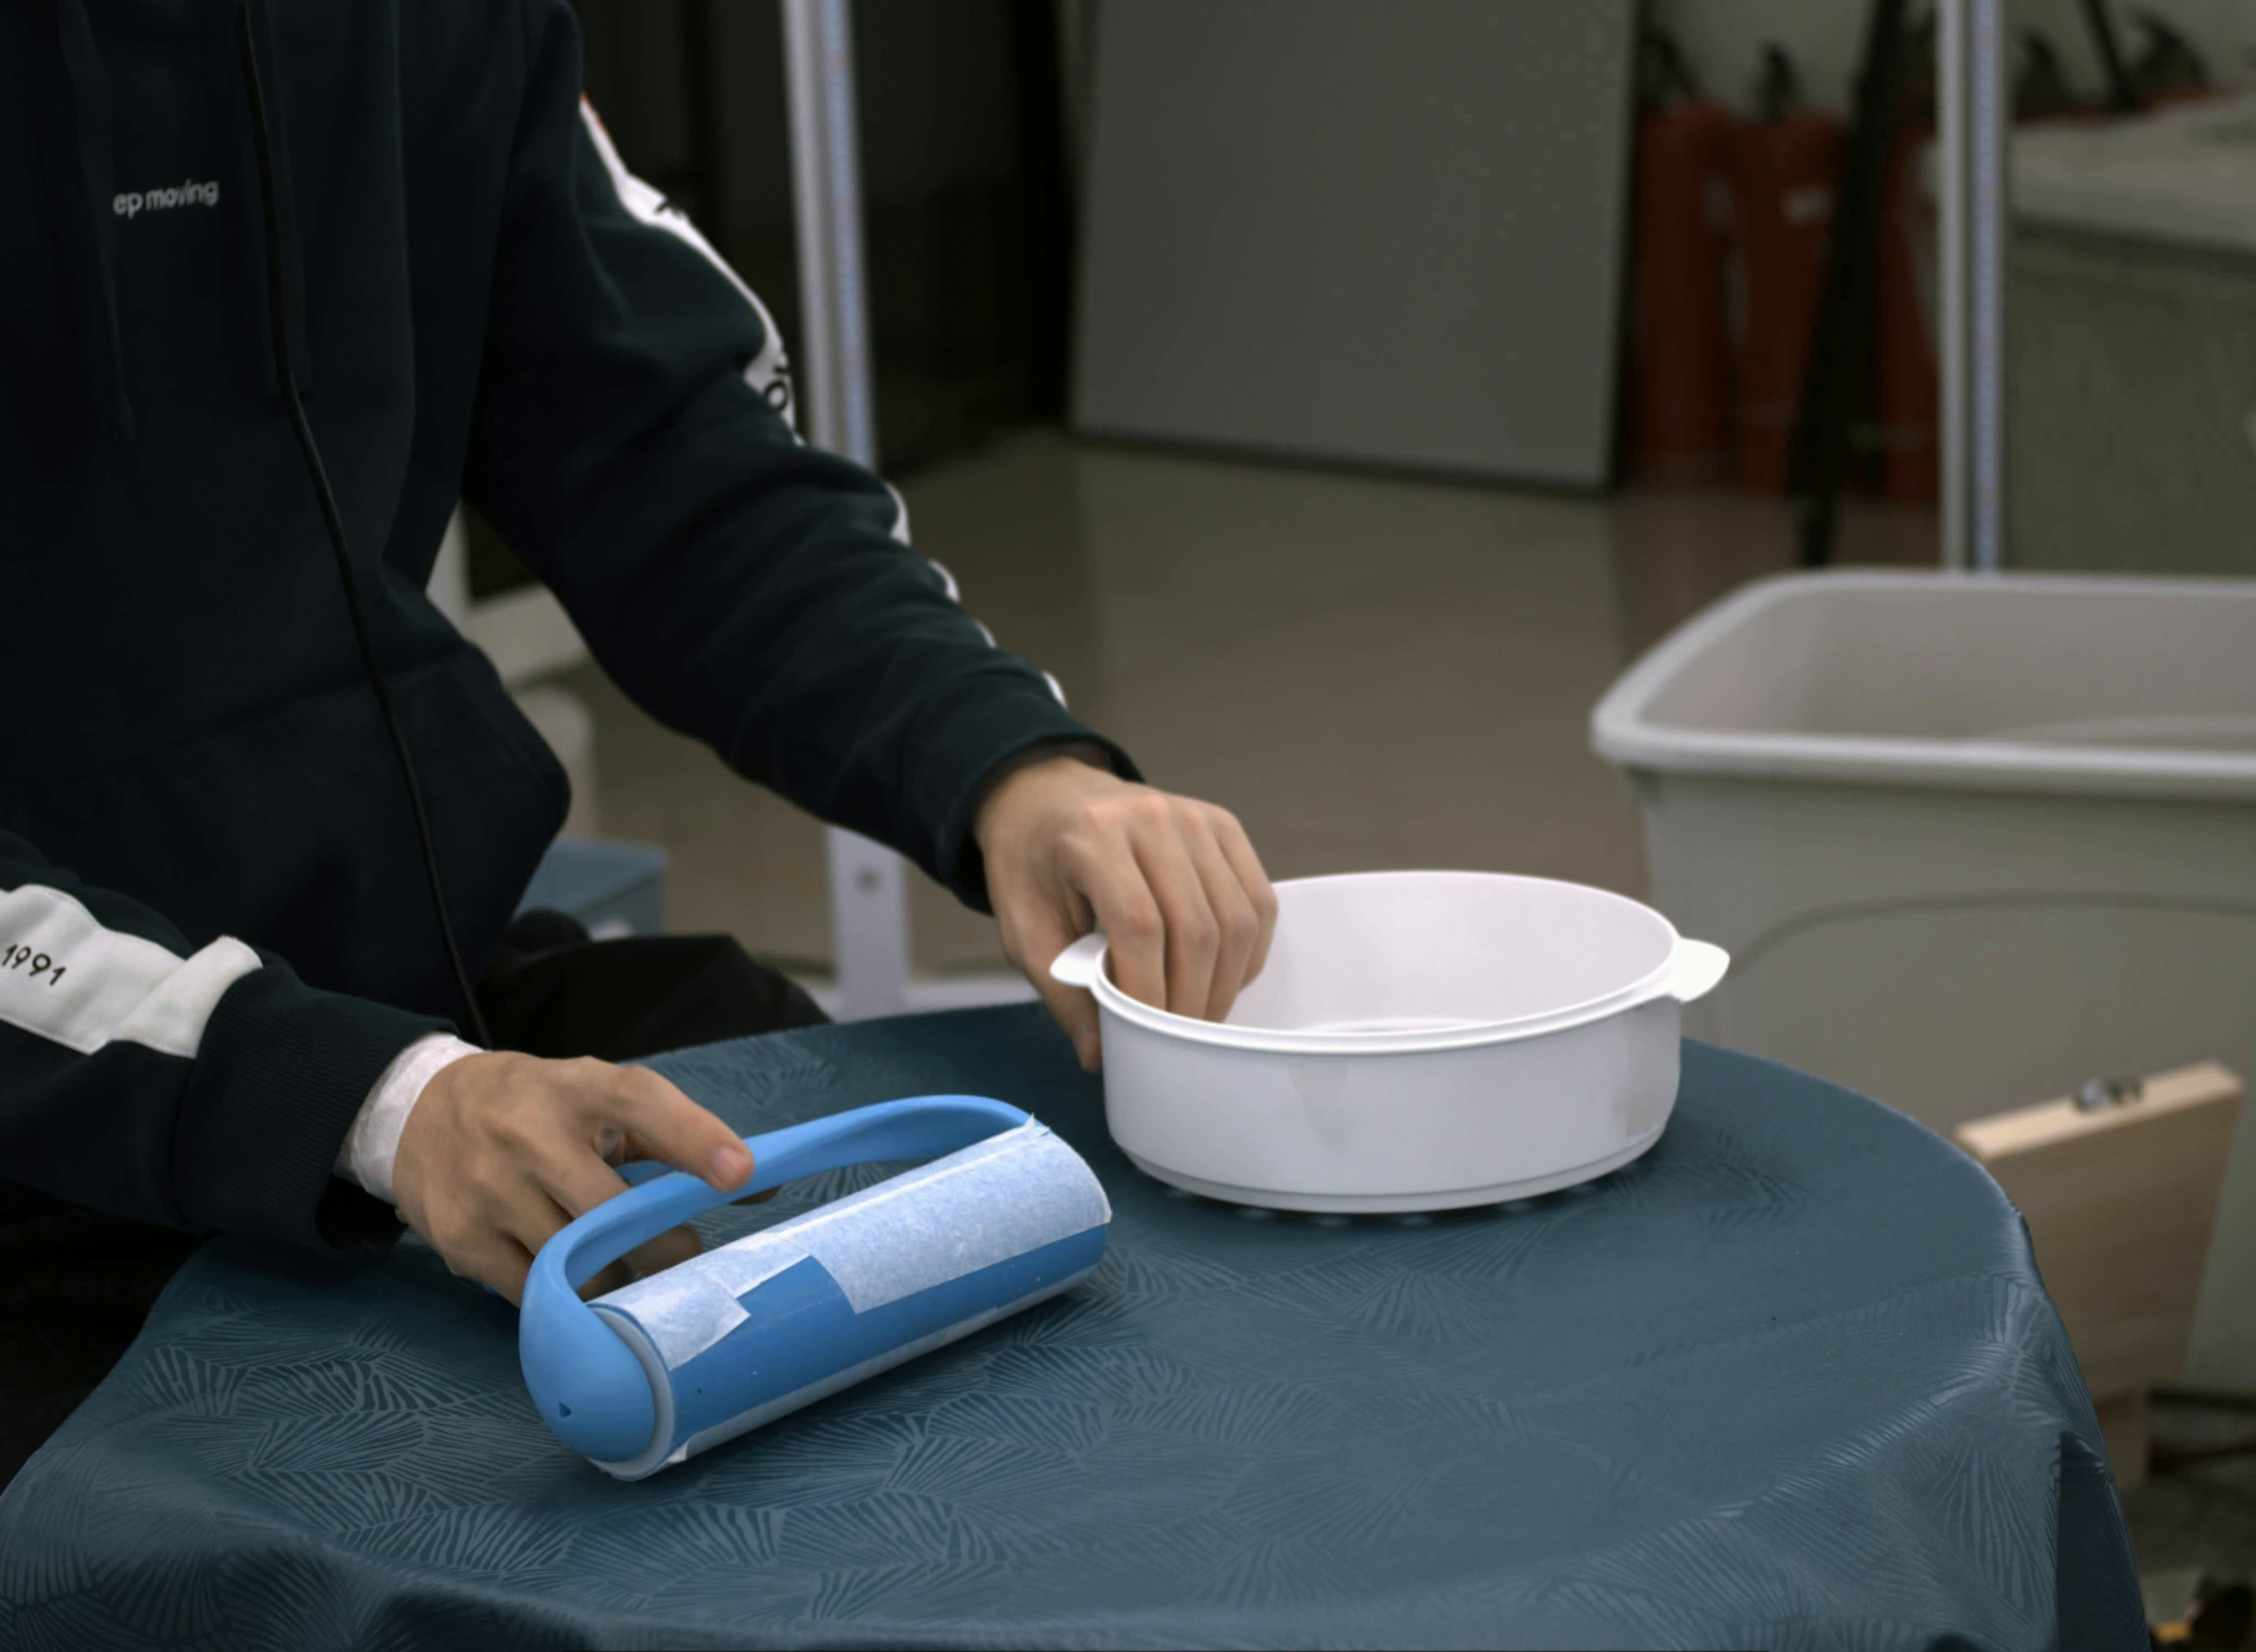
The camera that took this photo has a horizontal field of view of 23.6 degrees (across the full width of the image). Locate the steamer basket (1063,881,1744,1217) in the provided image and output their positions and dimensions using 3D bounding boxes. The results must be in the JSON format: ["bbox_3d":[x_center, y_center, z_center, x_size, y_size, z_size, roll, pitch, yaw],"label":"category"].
[{"bbox_3d":[0.092,0.074,1.795,0.230,0.070,0.200,-1,13,19],"label":"steamer basket"}]

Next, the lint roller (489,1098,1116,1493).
[{"bbox_3d":[-0.129,0.134,1.641,0.181,0.068,0.225,7,20,36],"label":"lint roller"}]
